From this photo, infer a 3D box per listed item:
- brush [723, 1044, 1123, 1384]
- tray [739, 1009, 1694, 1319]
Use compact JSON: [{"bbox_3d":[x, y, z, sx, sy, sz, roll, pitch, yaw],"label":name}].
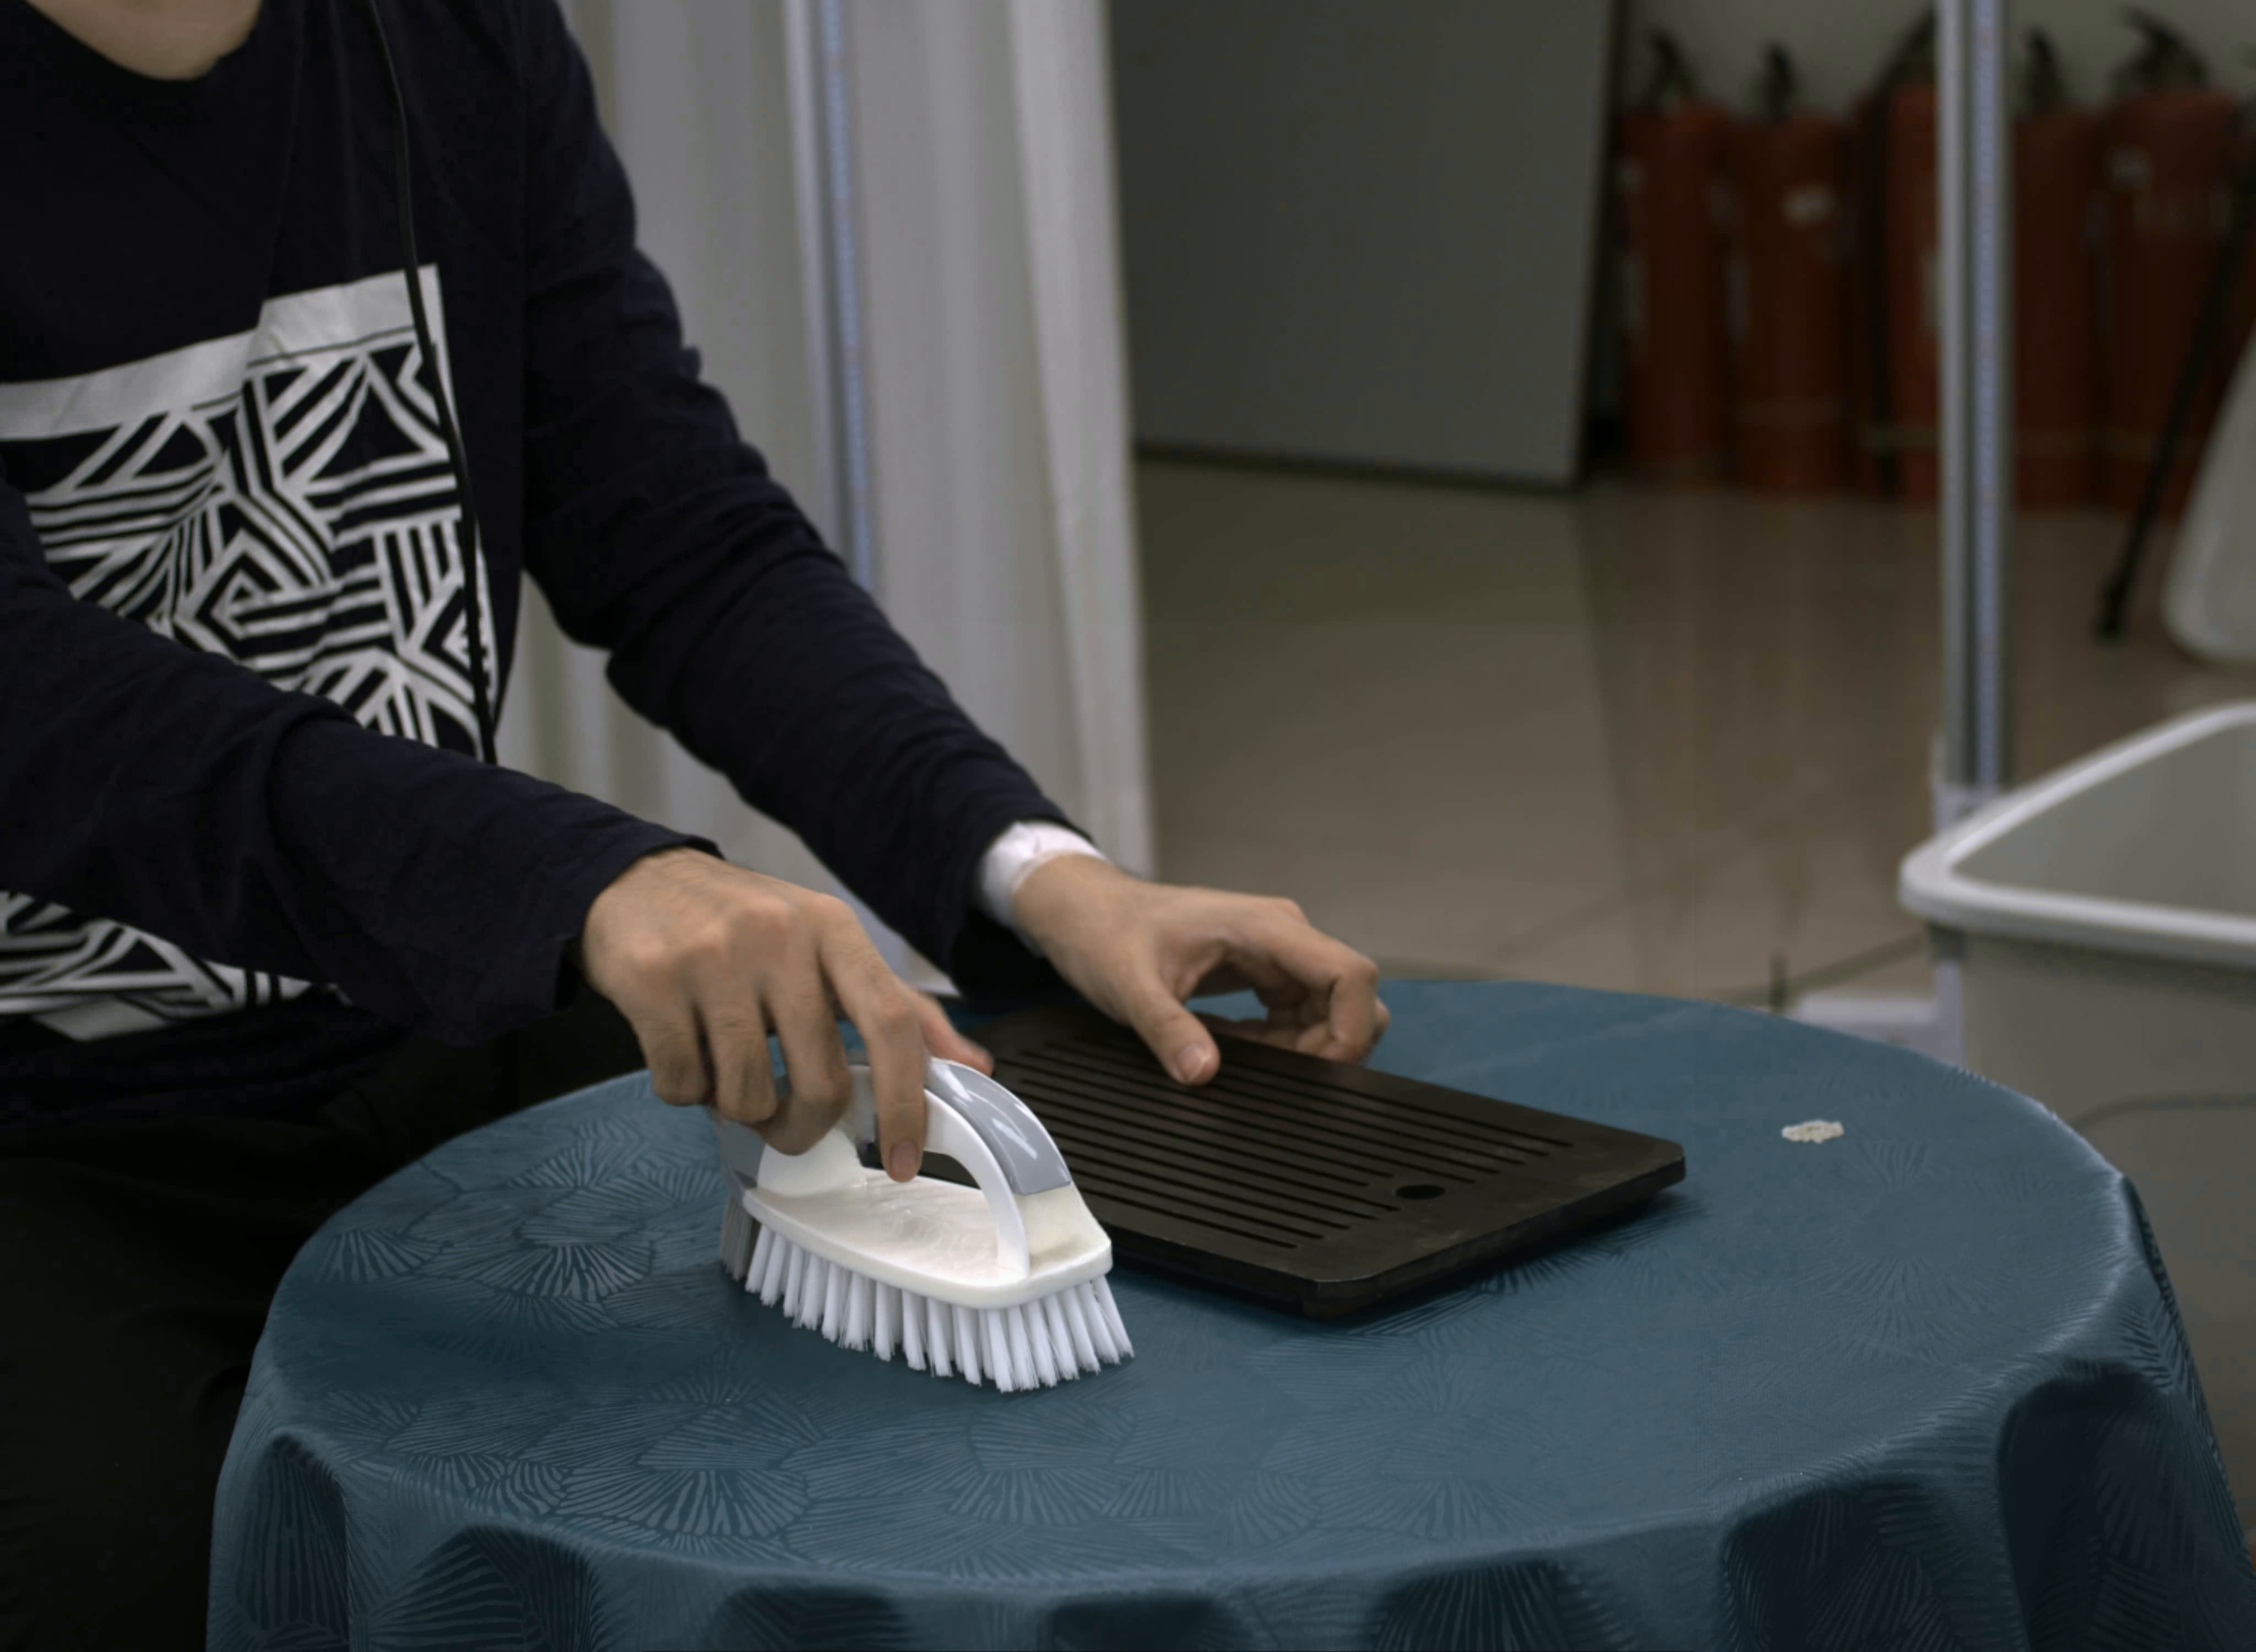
[{"bbox_3d":[-0.076,0.112,1.651,0.060,0.095,0.177,-17,17,-35],"label":"brush"},{"bbox_3d":[0.025,0.109,1.784,0.166,0.019,0.309,-16,17,-40],"label":"tray"}]
